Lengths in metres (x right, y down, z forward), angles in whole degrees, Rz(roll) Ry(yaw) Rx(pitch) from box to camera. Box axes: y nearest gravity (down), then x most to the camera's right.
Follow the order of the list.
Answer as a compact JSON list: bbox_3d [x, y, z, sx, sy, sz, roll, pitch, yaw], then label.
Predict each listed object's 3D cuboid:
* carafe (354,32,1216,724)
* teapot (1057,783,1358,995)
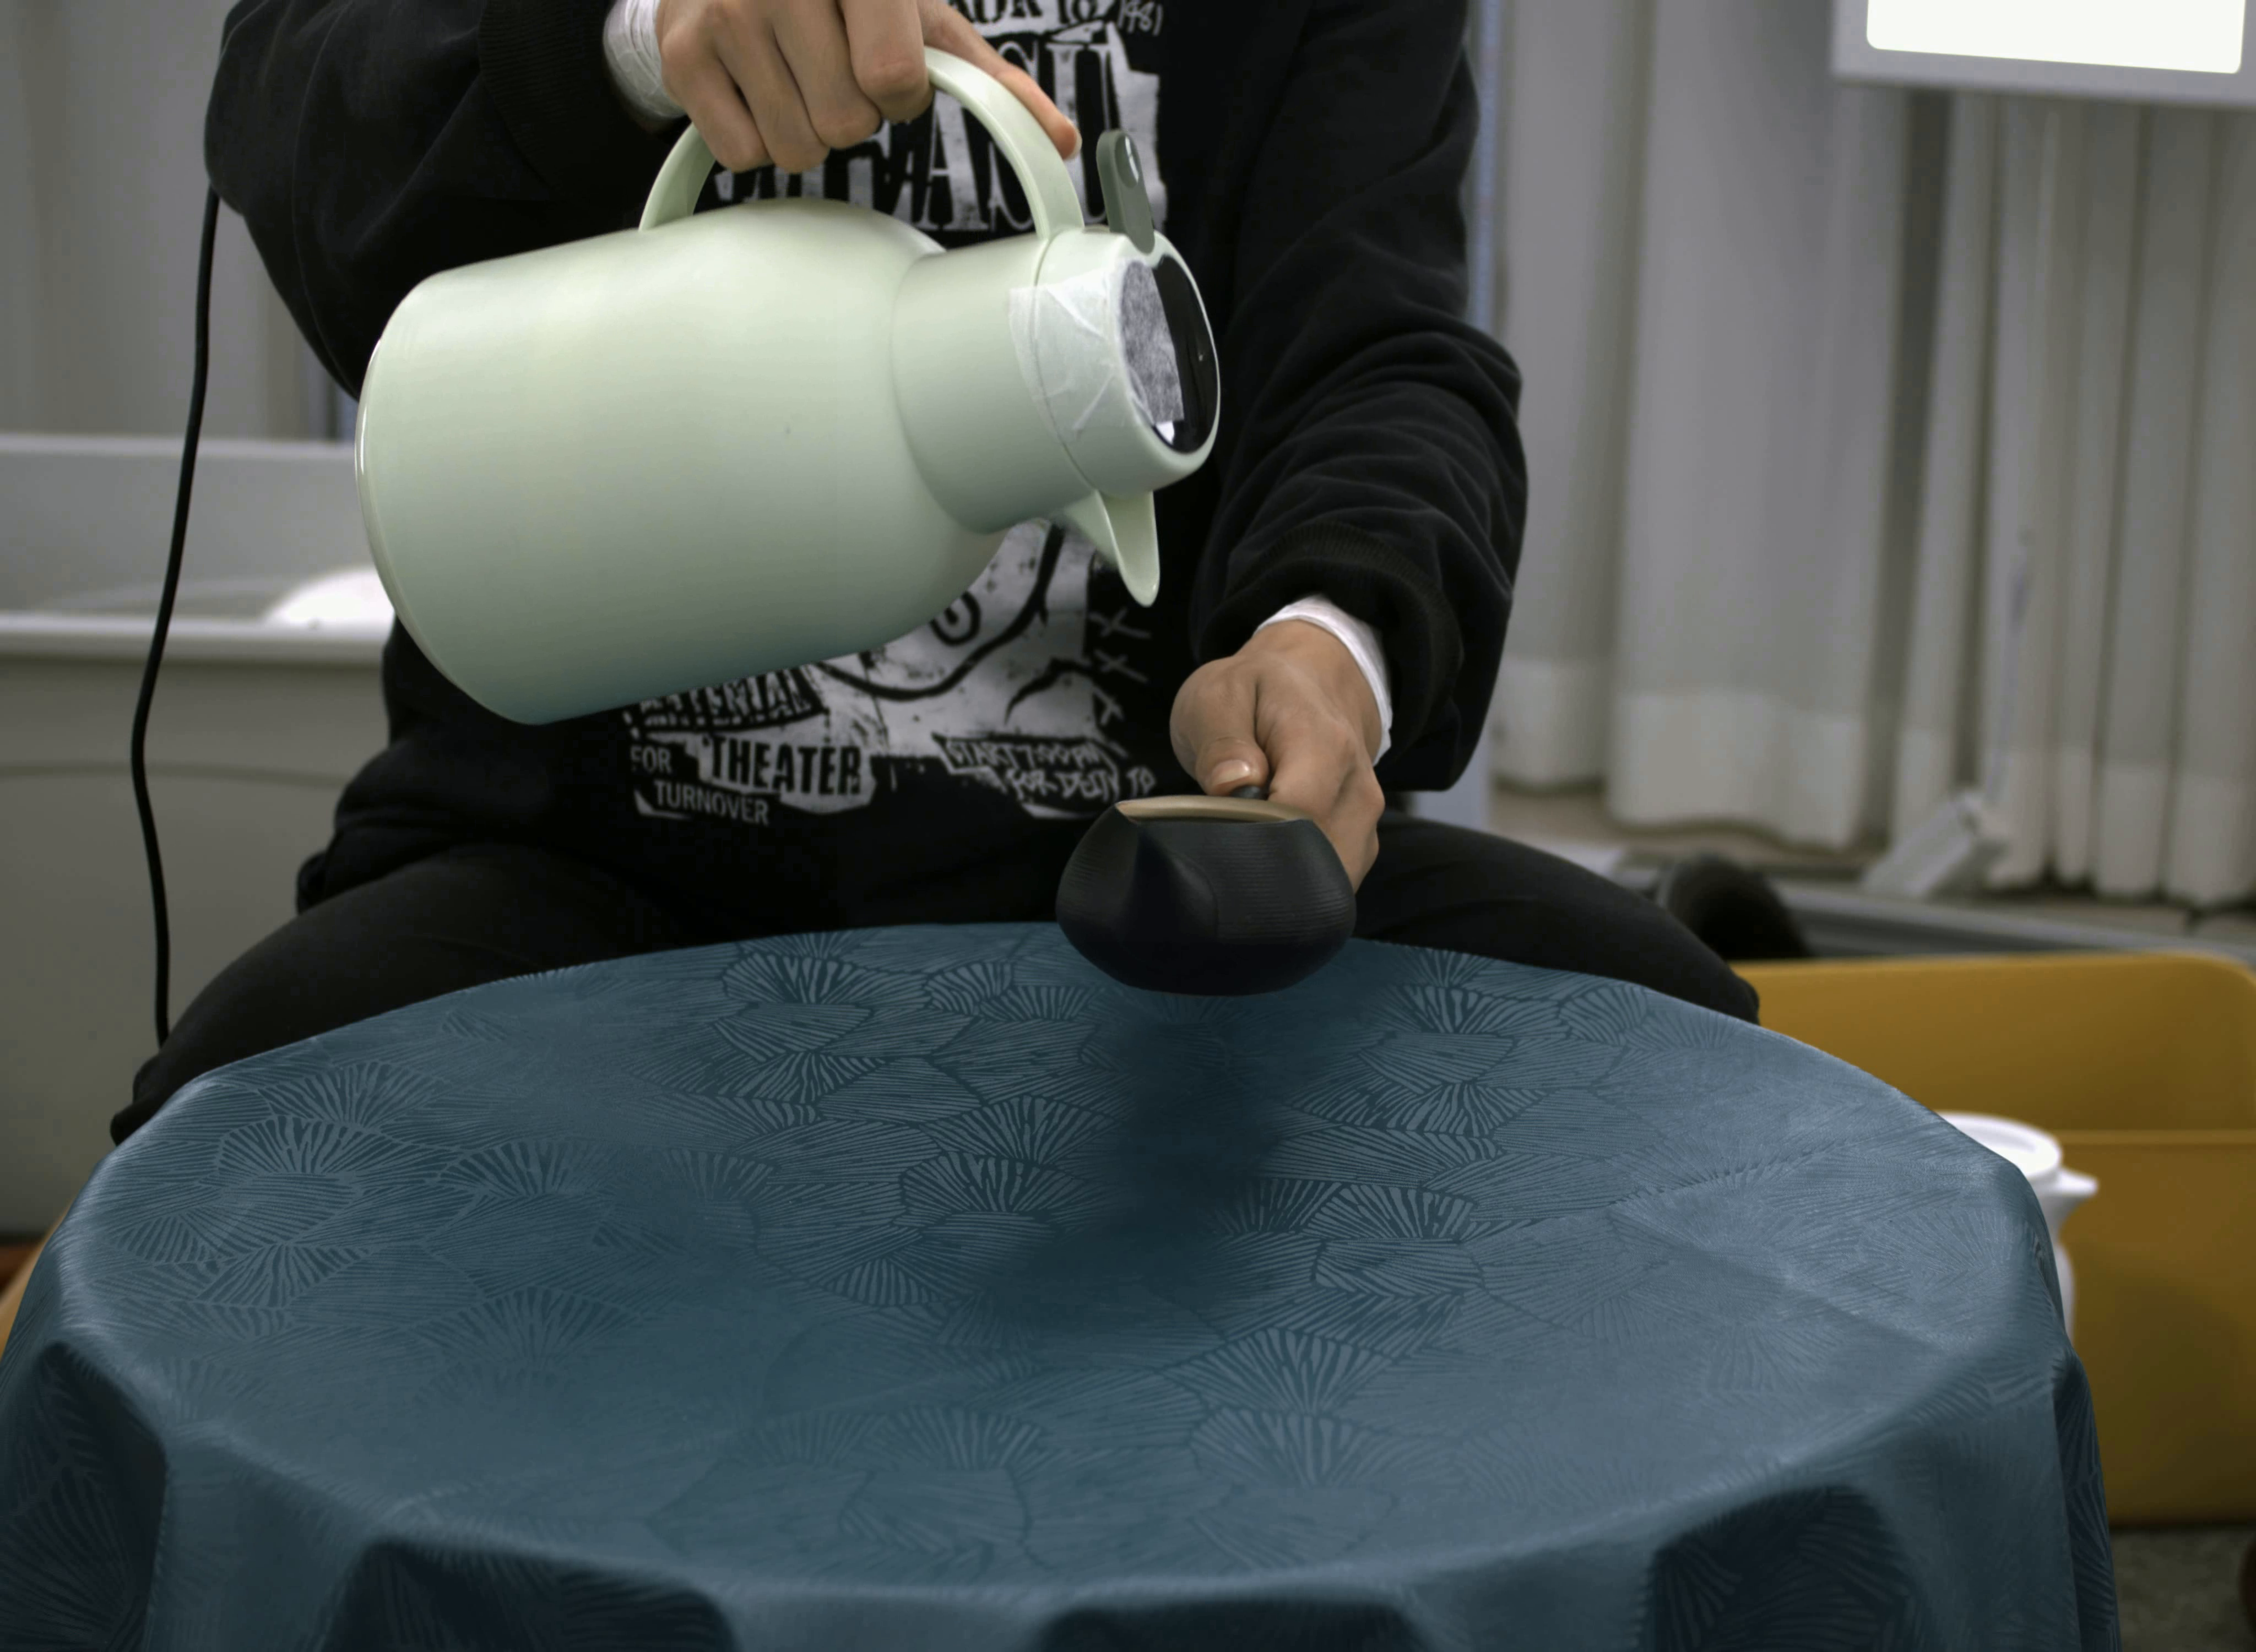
[{"bbox_3d":[-0.103,-0.137,1.604,0.255,0.187,0.144,-14,4,26],"label":"carafe"},{"bbox_3d":[0.024,0.020,1.578,0.090,0.053,0.133,6,11,15],"label":"teapot"}]
